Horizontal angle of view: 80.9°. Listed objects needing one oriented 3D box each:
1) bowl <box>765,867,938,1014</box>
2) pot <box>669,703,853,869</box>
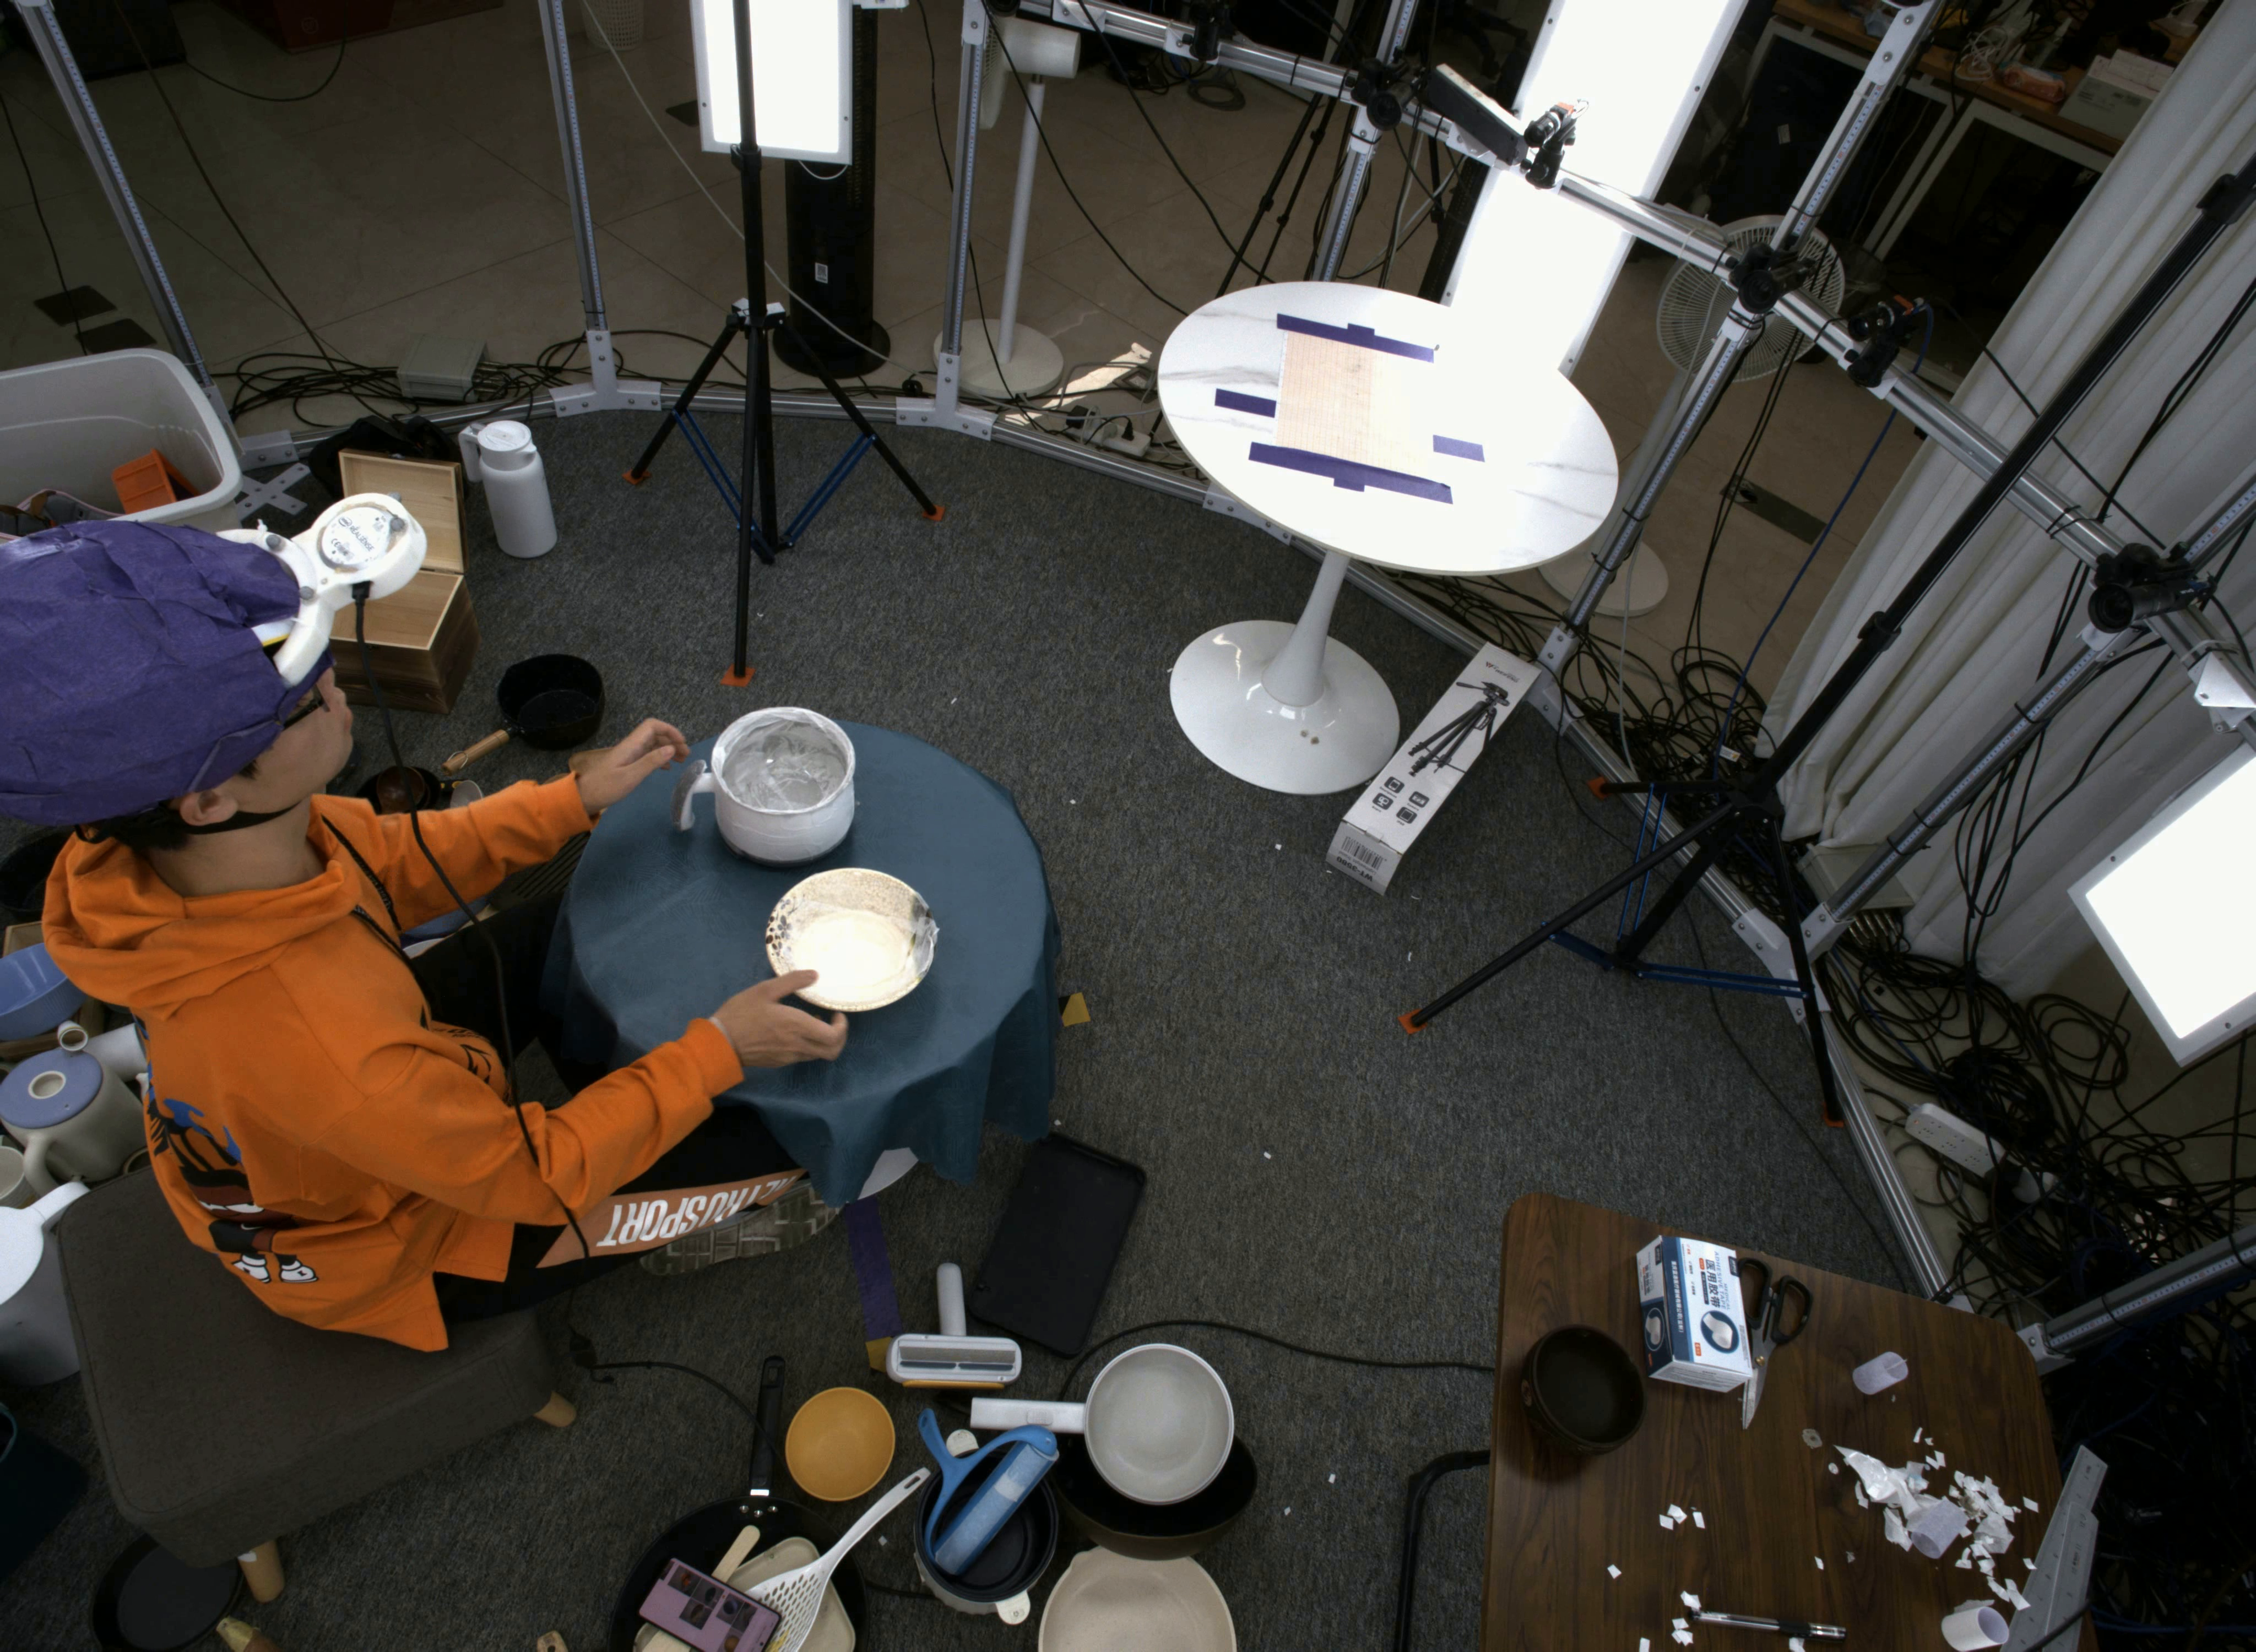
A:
[{"bbox_3d":[-0.333,0.152,1.576,0.203,0.079,0.200,7,54,-8],"label":"bowl"},{"bbox_3d":[-0.468,-0.044,1.646,0.235,0.139,0.174,-7,54,-19],"label":"pot"}]
